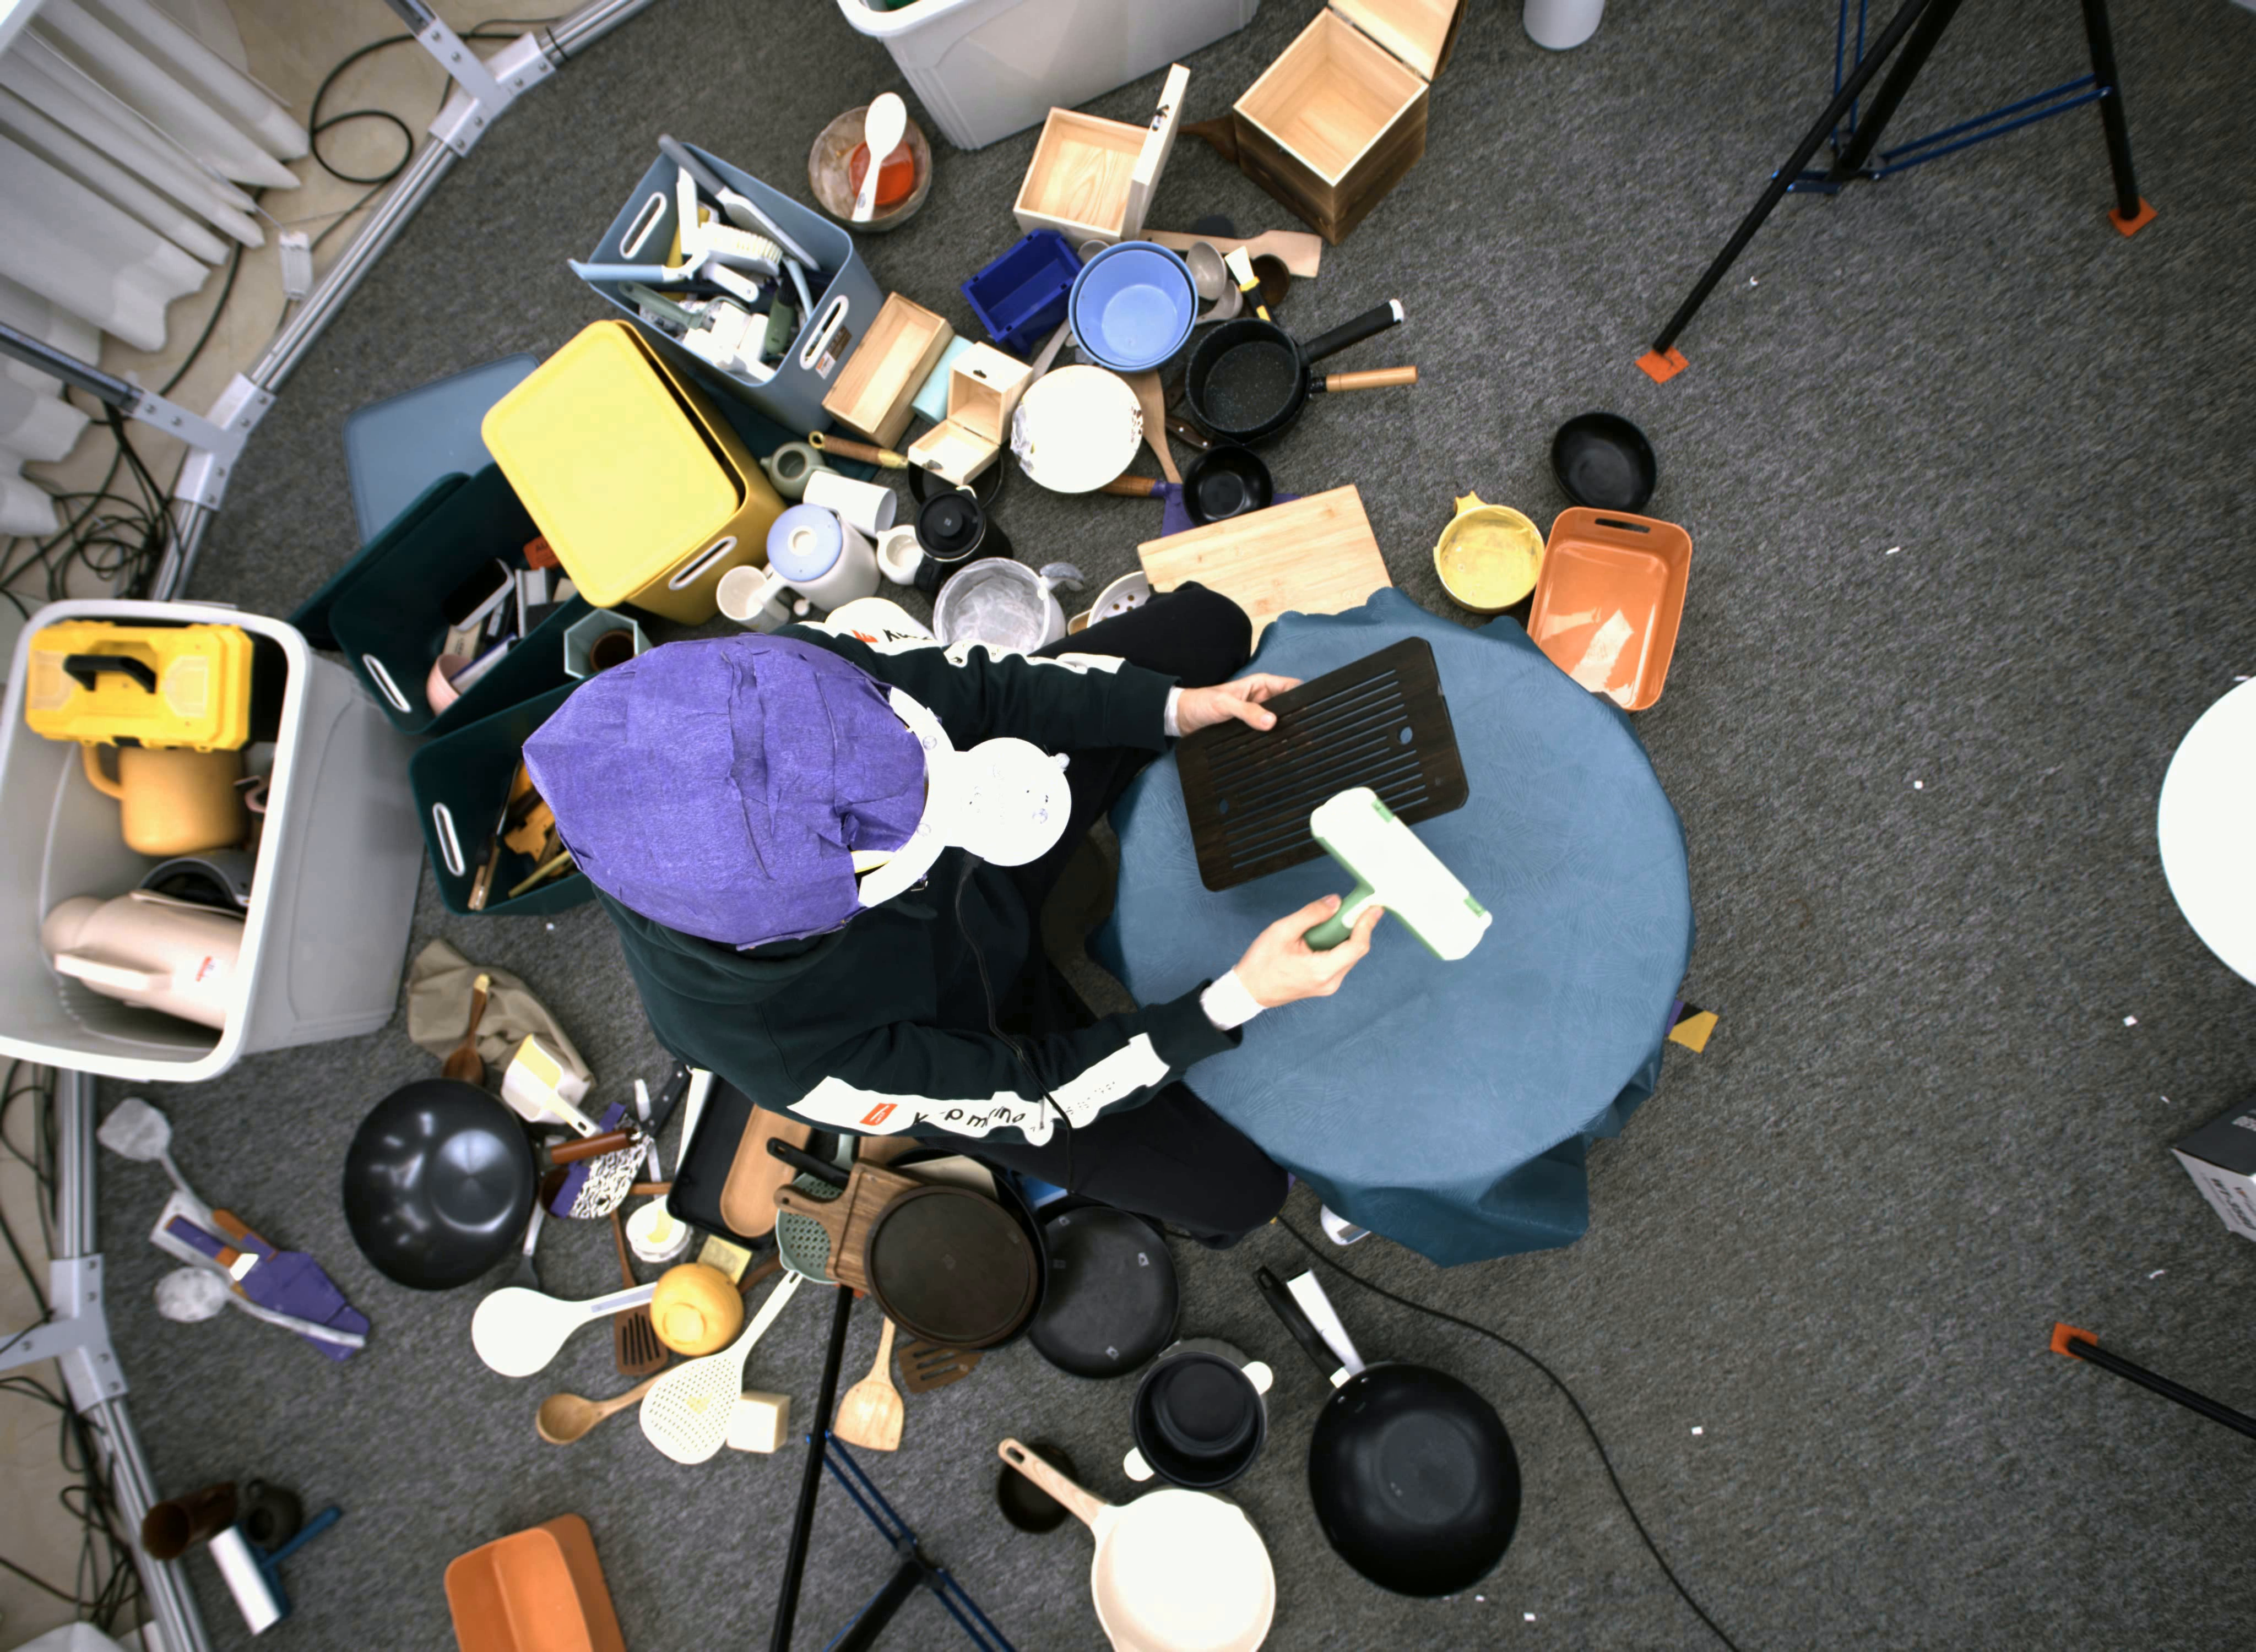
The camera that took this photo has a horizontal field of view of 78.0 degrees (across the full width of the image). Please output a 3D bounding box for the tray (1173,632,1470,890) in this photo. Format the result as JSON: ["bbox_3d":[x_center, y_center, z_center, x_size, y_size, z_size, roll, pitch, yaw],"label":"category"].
[{"bbox_3d":[0.180,-0.058,1.344,0.311,0.018,0.168,-22,75,37],"label":"tray"}]

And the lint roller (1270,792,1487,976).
[{"bbox_3d":[0.207,0.088,1.270,0.185,0.080,0.200,-43,112,12],"label":"lint roller"}]
